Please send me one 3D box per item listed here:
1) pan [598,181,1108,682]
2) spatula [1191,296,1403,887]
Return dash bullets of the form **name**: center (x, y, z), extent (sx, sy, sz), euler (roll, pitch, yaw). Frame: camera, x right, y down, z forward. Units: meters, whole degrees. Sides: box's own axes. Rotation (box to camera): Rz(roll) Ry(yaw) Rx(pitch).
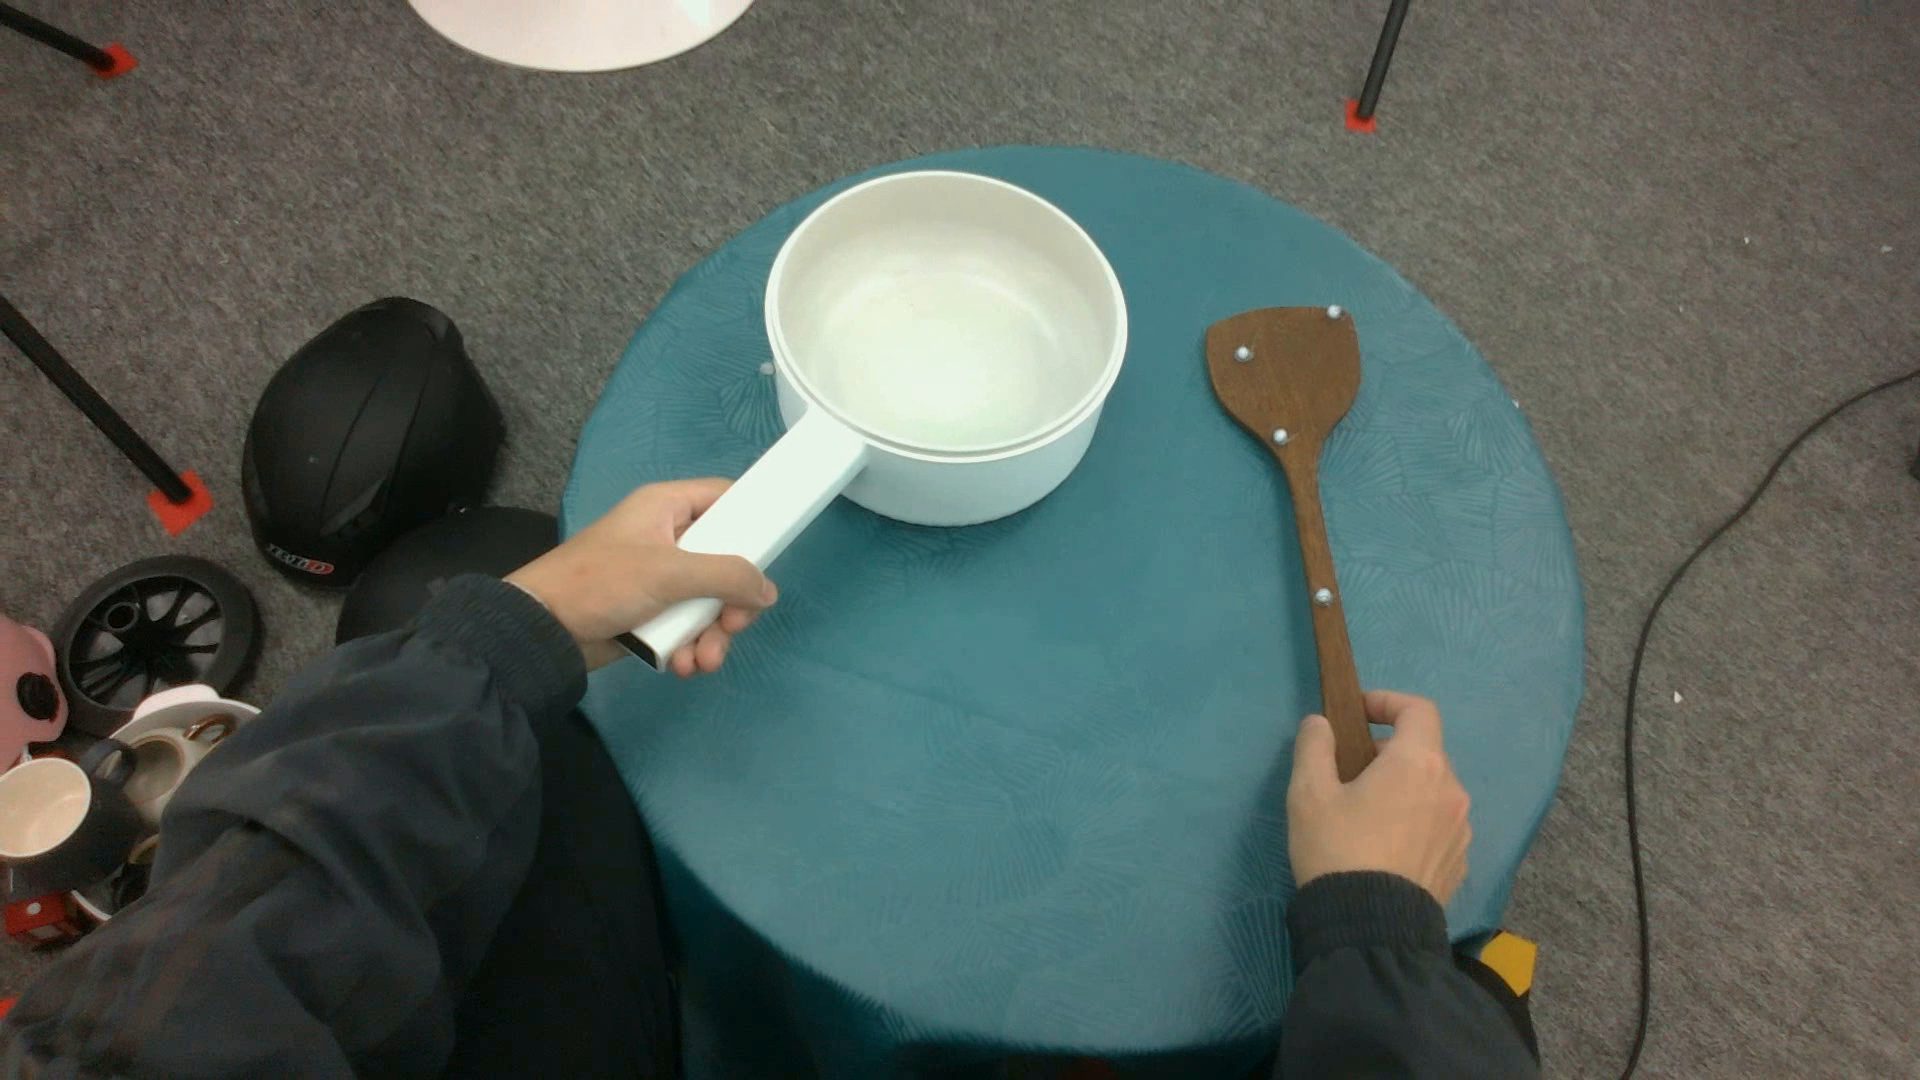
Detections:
- **pan**: center (-0.062, -0.051, 0.781), extent (0.201, 0.101, 0.356), euler (33, 64, 14)
- **spatula**: center (0.205, 0.010, 0.800), extent (0.096, 0.016, 0.387), euler (-8, 58, 8)
